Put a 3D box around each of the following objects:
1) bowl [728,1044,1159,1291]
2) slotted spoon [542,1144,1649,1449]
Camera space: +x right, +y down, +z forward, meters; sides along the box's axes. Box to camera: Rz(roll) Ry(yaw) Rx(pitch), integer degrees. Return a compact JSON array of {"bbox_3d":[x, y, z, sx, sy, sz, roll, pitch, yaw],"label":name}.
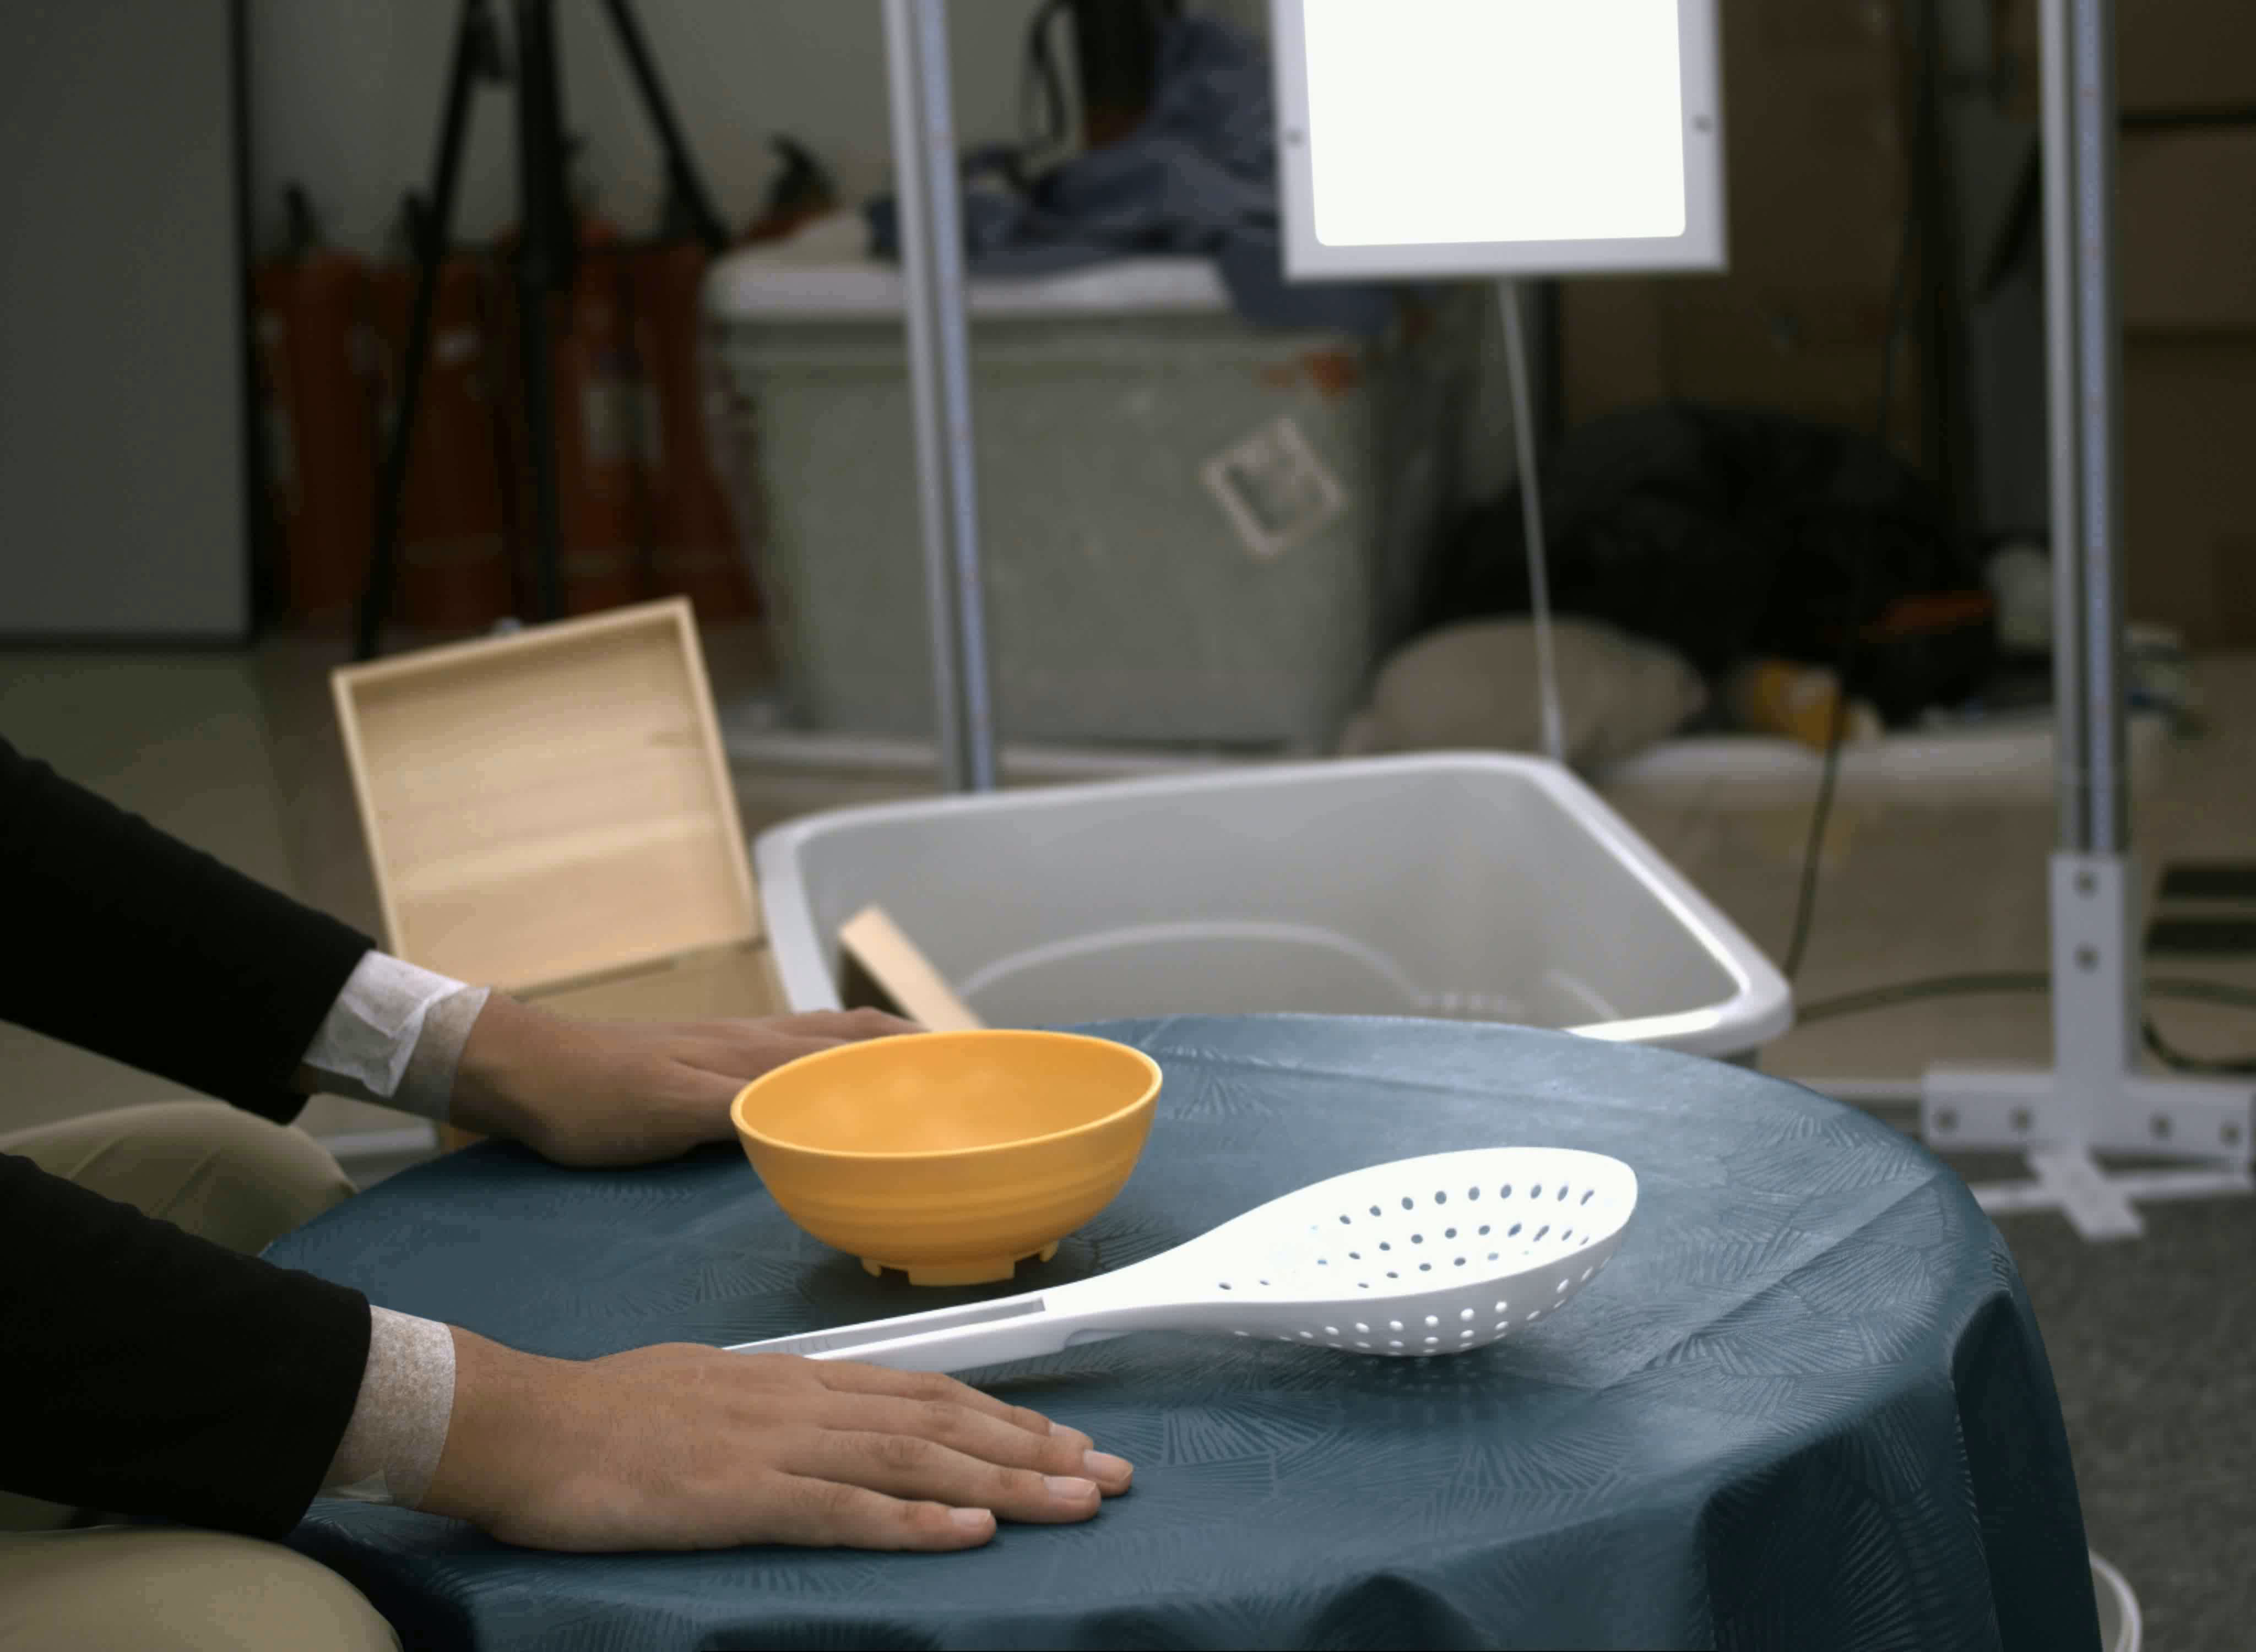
[{"bbox_3d":[-0.060,0.118,1.840,0.145,0.060,0.145,-4,12,-1],"label":"bowl"},{"bbox_3d":[-0.009,0.150,1.710,0.348,0.046,0.136,-7,13,-2],"label":"slotted spoon"}]
